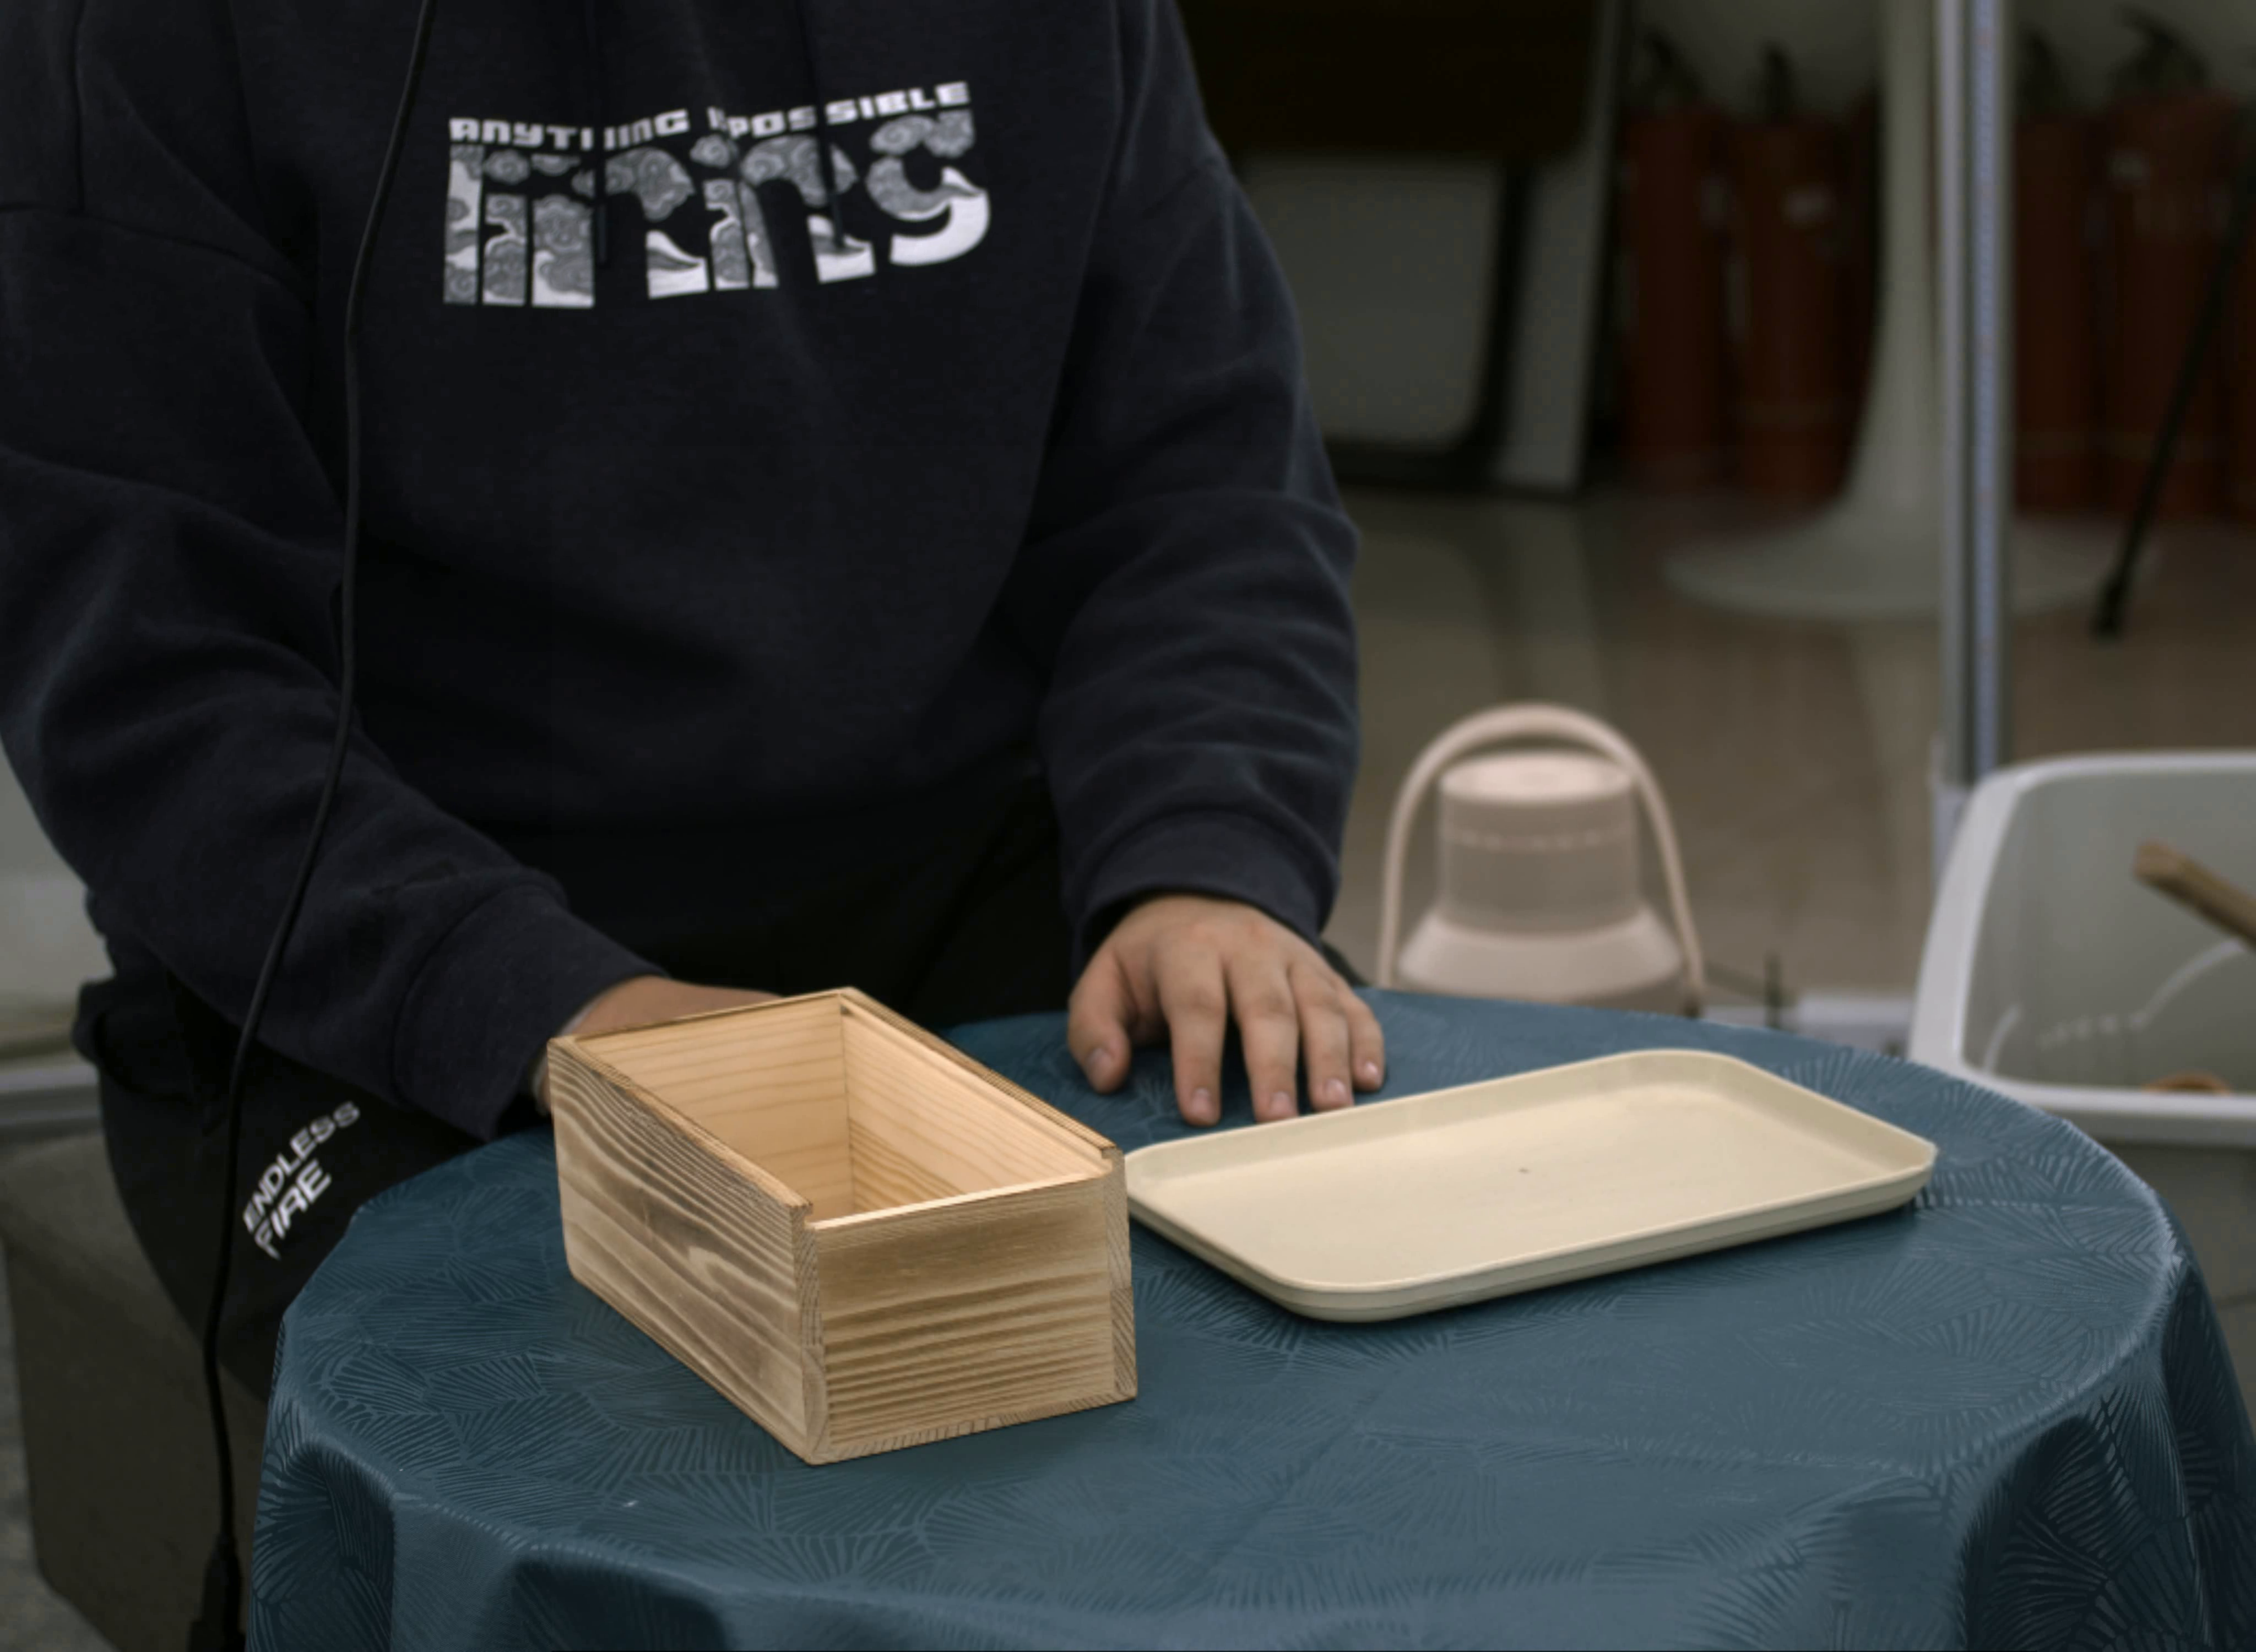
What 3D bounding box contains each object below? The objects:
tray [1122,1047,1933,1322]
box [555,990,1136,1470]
[{"bbox_3d":[0.126,0.115,1.729,0.234,0.017,0.173,-10,14,-24],"label":"tray"},{"bbox_3d":[-0.089,0.118,1.644,0.105,0.081,0.213,-9,14,-23],"label":"box"}]
